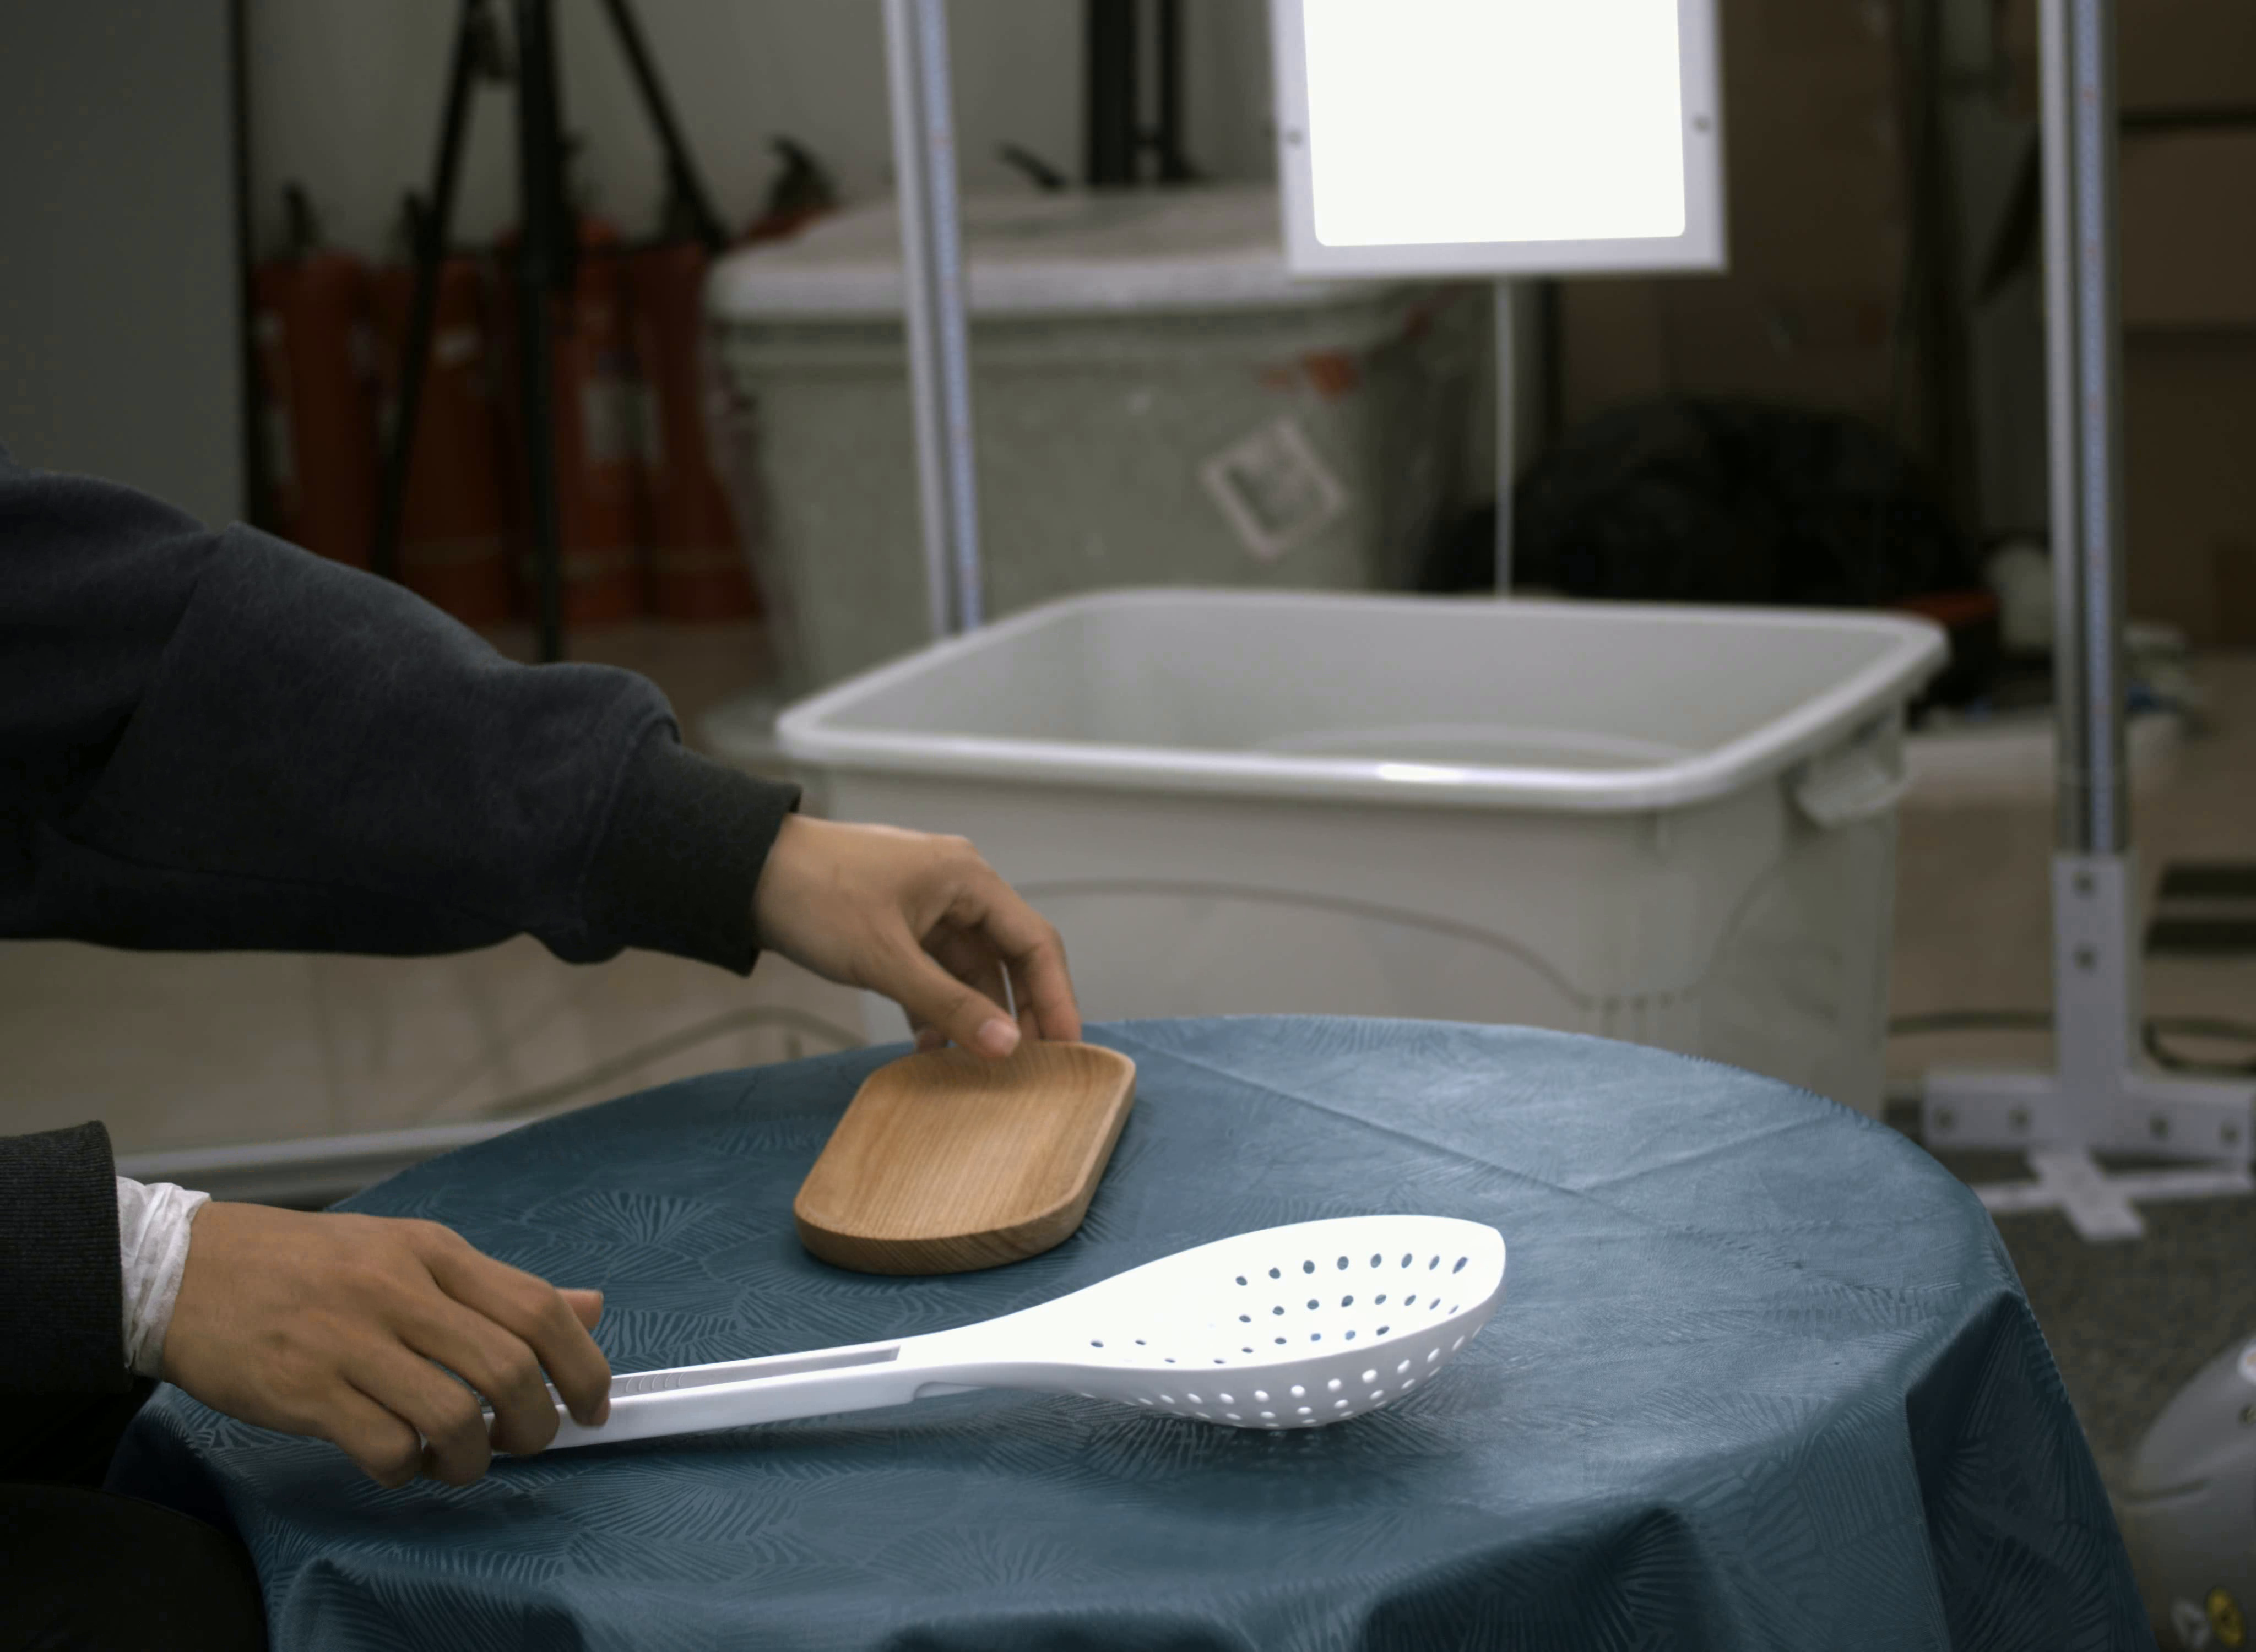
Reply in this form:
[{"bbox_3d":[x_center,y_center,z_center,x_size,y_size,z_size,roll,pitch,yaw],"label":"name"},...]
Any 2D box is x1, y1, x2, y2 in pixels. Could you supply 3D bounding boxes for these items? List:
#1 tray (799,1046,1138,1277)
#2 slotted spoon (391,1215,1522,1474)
[{"bbox_3d":[-0.053,0.115,1.928,0.102,0.020,0.229,-4,15,8],"label":"tray"},{"bbox_3d":[-0.053,0.163,1.673,0.351,0.046,0.135,-4,12,7],"label":"slotted spoon"}]
